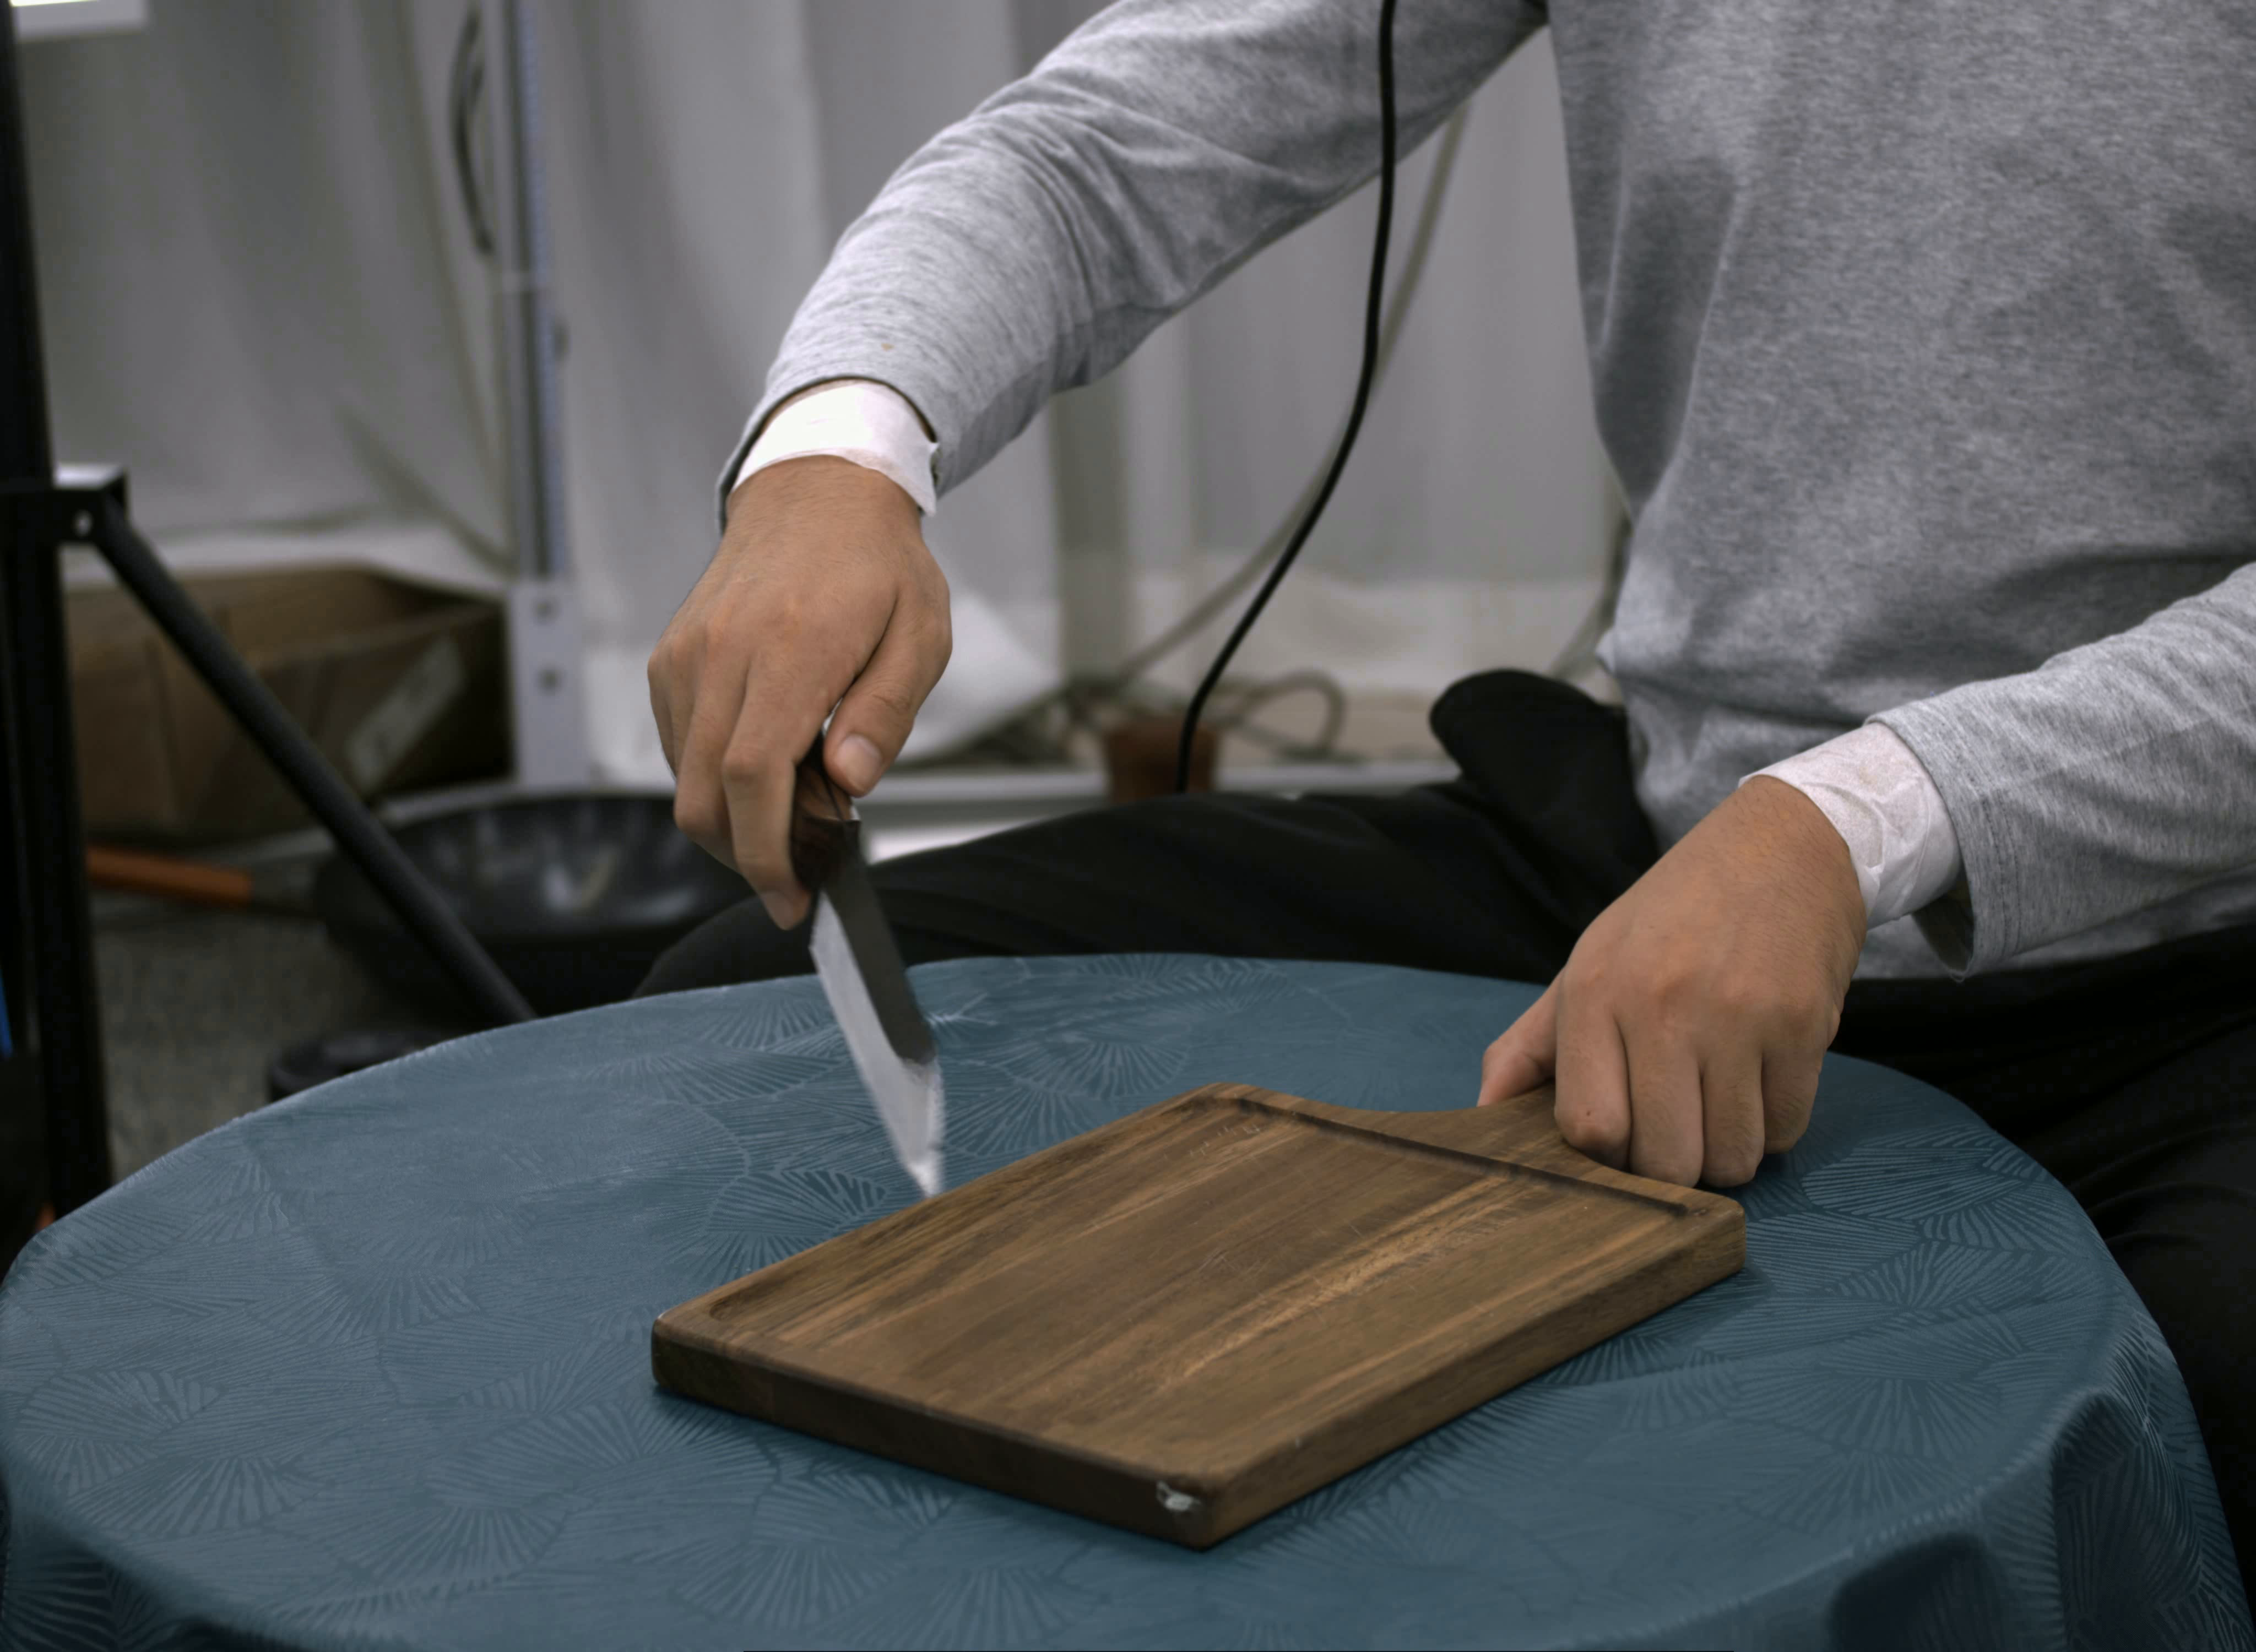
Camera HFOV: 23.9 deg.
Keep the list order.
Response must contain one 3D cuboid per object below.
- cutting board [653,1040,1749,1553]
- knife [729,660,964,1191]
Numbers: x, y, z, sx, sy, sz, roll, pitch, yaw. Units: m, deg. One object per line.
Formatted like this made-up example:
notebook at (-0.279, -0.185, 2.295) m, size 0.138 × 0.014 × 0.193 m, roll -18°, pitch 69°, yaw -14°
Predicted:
cutting board at (0.055, 0.117, 1.486) m, size 0.205 × 0.023 × 0.344 m, roll 11°, pitch 21°, yaw 39°
knife at (-0.078, 0.024, 1.518) m, size 0.019 × 0.050 × 0.294 m, roll 2°, pitch 27°, yaw -17°
